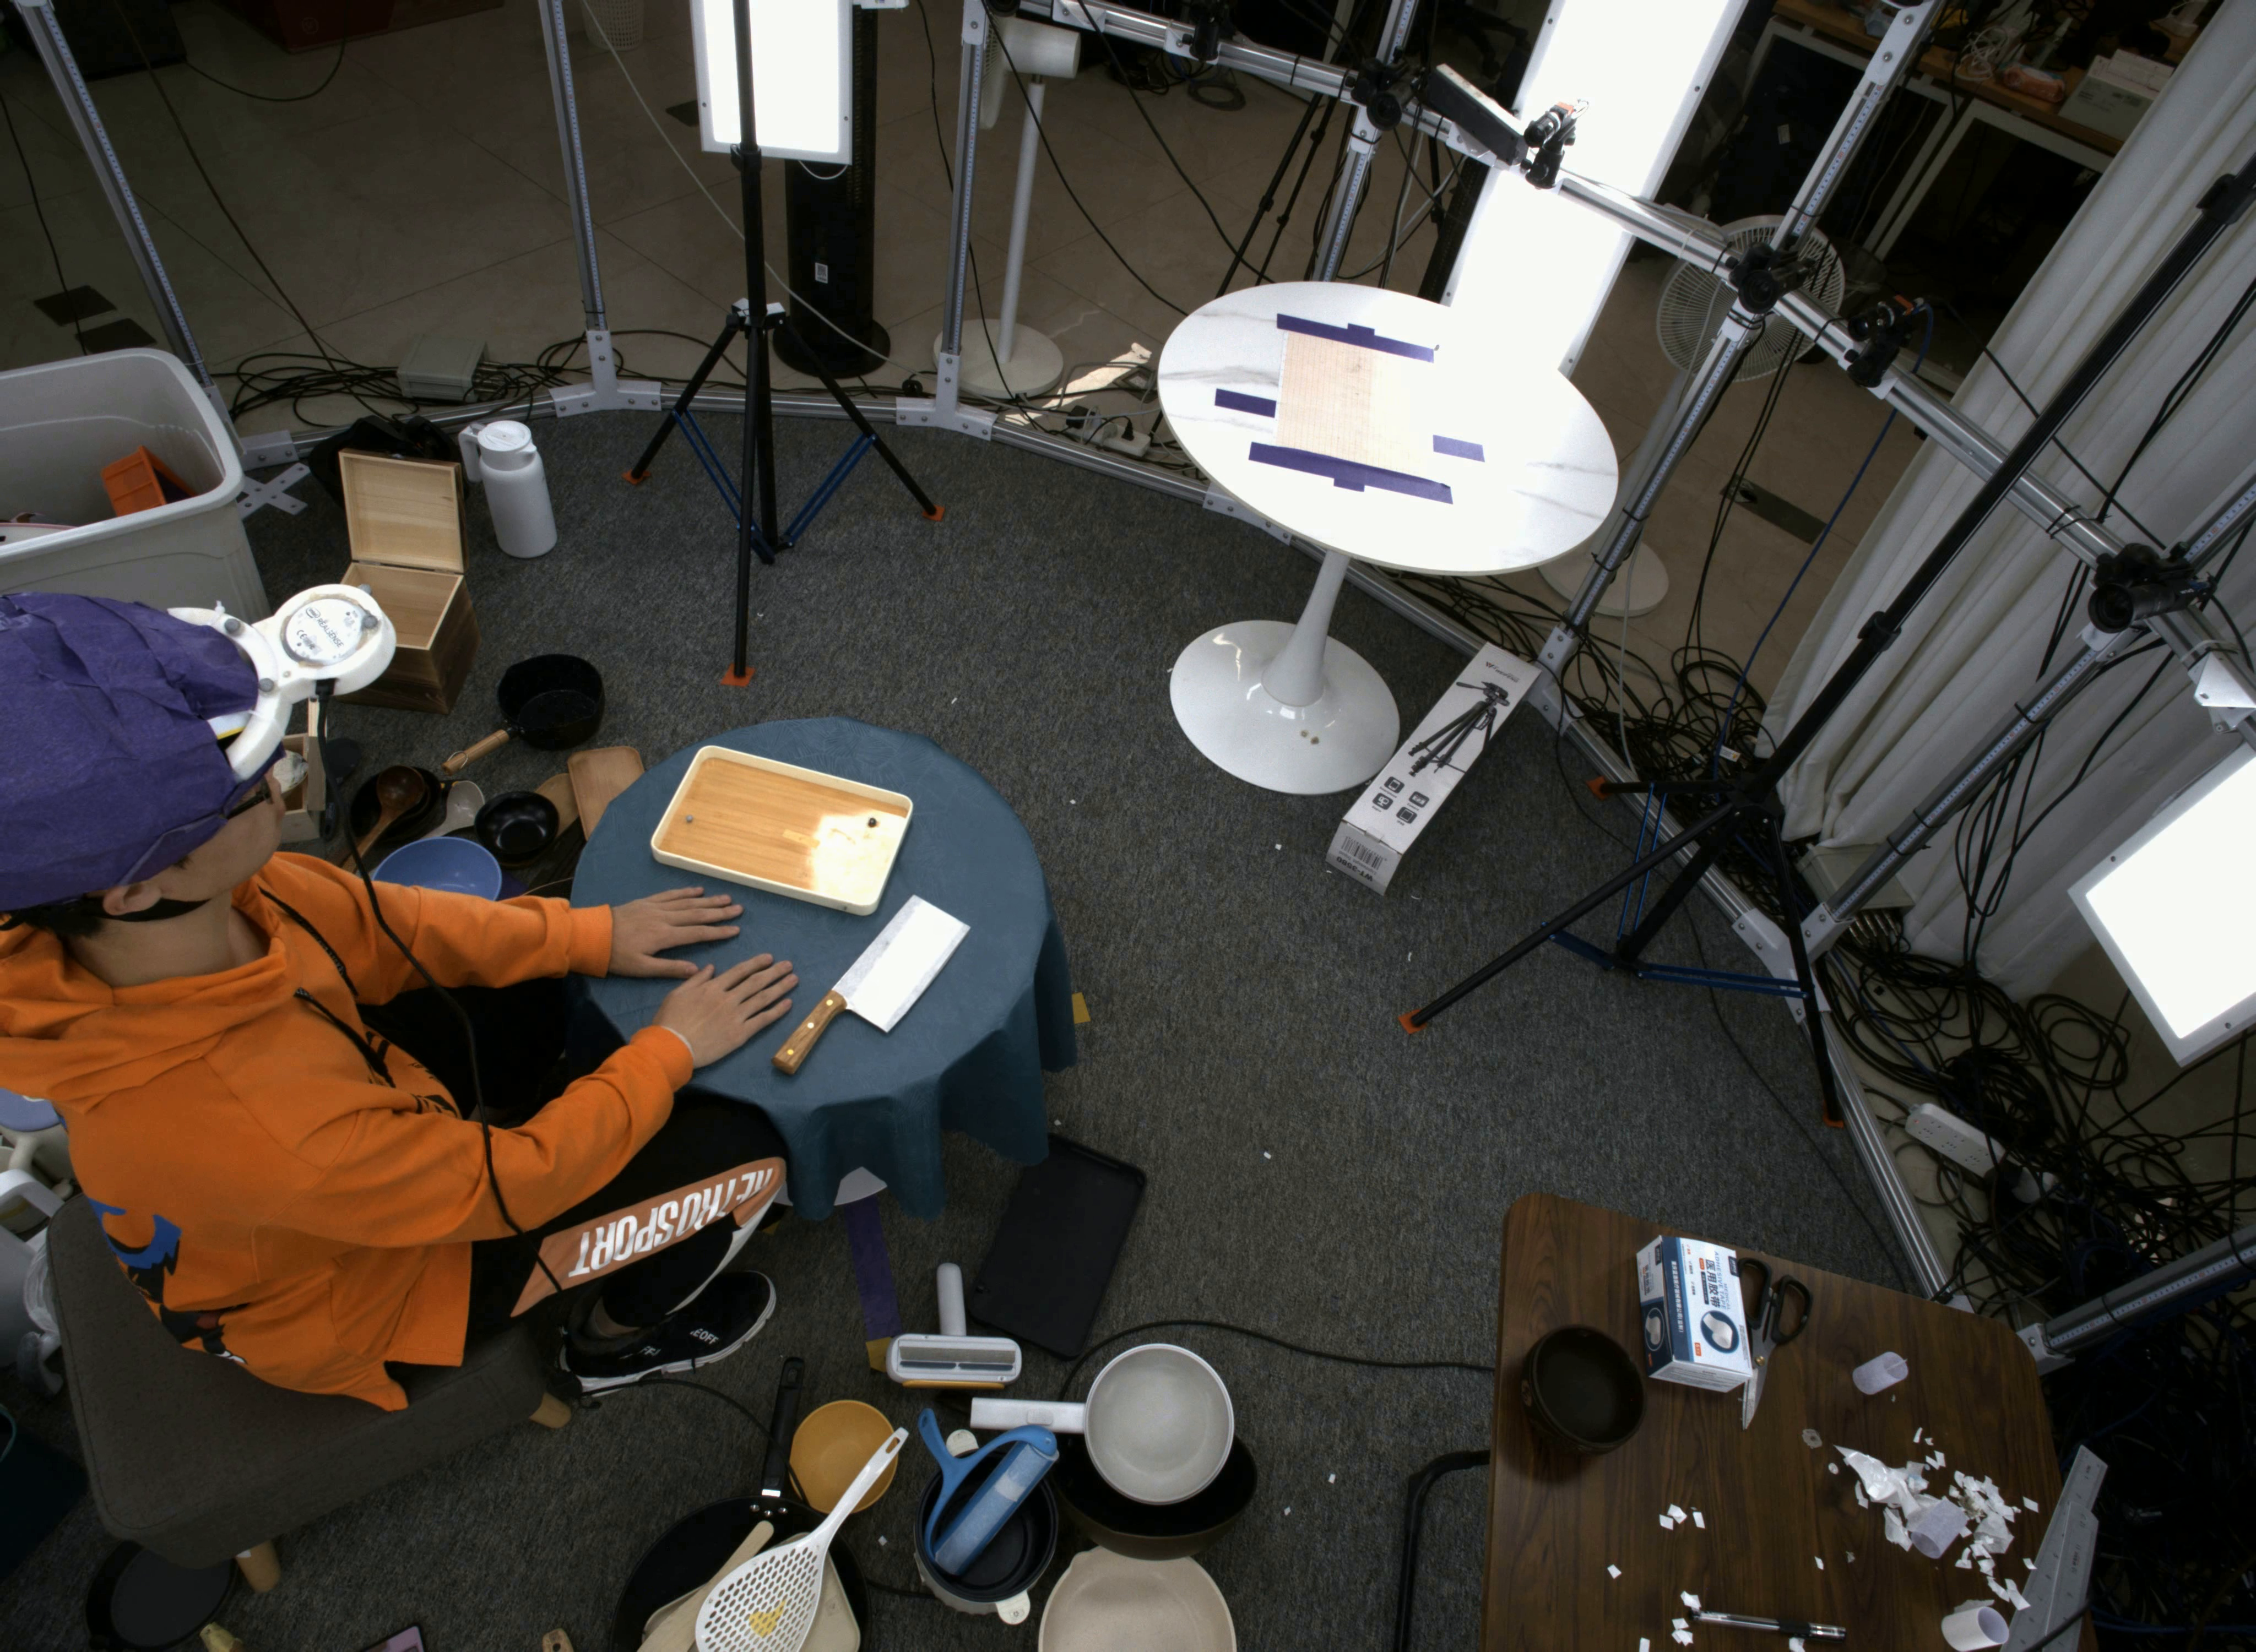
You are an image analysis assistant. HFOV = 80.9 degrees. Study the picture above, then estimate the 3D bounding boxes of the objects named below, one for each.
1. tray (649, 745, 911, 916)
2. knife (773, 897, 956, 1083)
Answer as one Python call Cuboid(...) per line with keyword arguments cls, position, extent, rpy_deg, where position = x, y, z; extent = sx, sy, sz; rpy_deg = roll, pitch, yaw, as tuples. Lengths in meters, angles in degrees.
Cuboid(cls="tray", position=(-0.449, 0.003, 1.687), extent=(0.298, 0.028, 0.189), rpy_deg=(15, 51, -4))
Cuboid(cls="knife", position=(-0.310, 0.202, 1.583), extent=(0.091, 0.021, 0.304), rpy_deg=(30, 50, 7))
